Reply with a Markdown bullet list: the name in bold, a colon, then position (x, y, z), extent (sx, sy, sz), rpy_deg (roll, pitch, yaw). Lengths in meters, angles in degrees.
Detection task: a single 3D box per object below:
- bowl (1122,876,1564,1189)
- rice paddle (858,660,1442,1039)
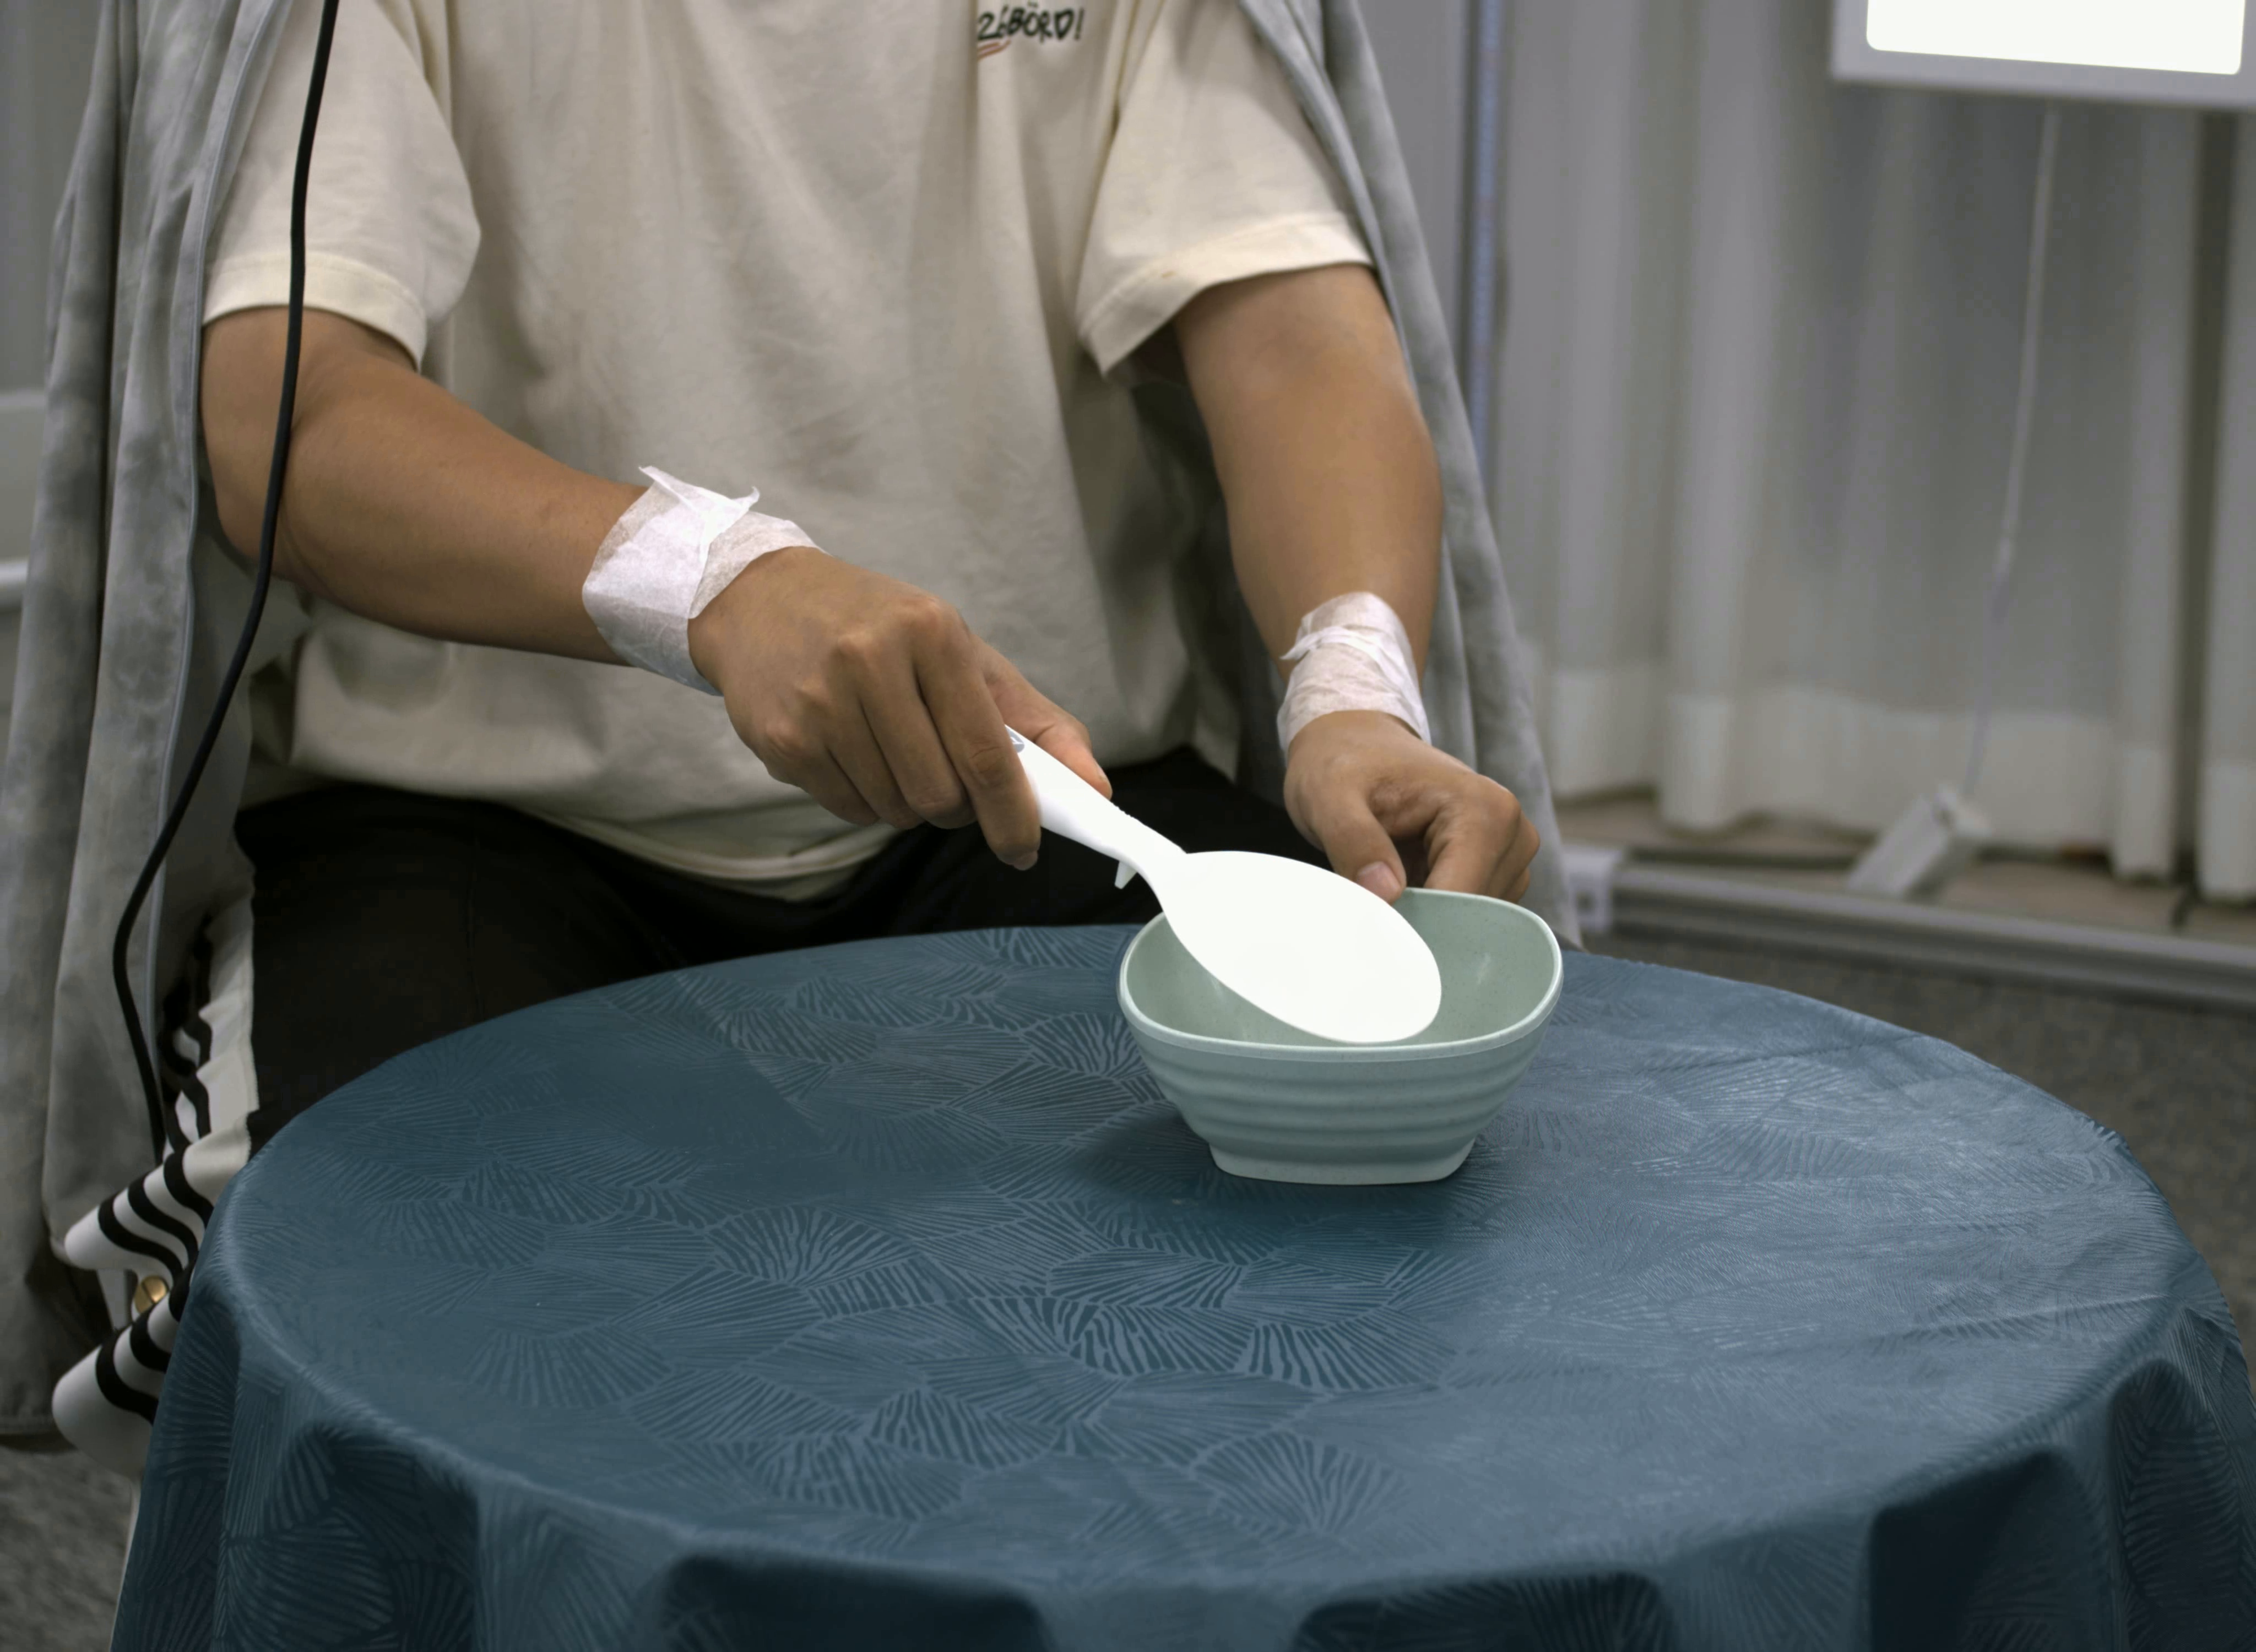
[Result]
- **bowl**: position (0.068, 0.069, 1.662), extent (0.151, 0.059, 0.150), rpy_deg (-1, 23, 1)
- **rice paddle**: position (0.009, 0.008, 1.657), extent (0.204, 0.029, 0.068), rpy_deg (29, 46, 11)
